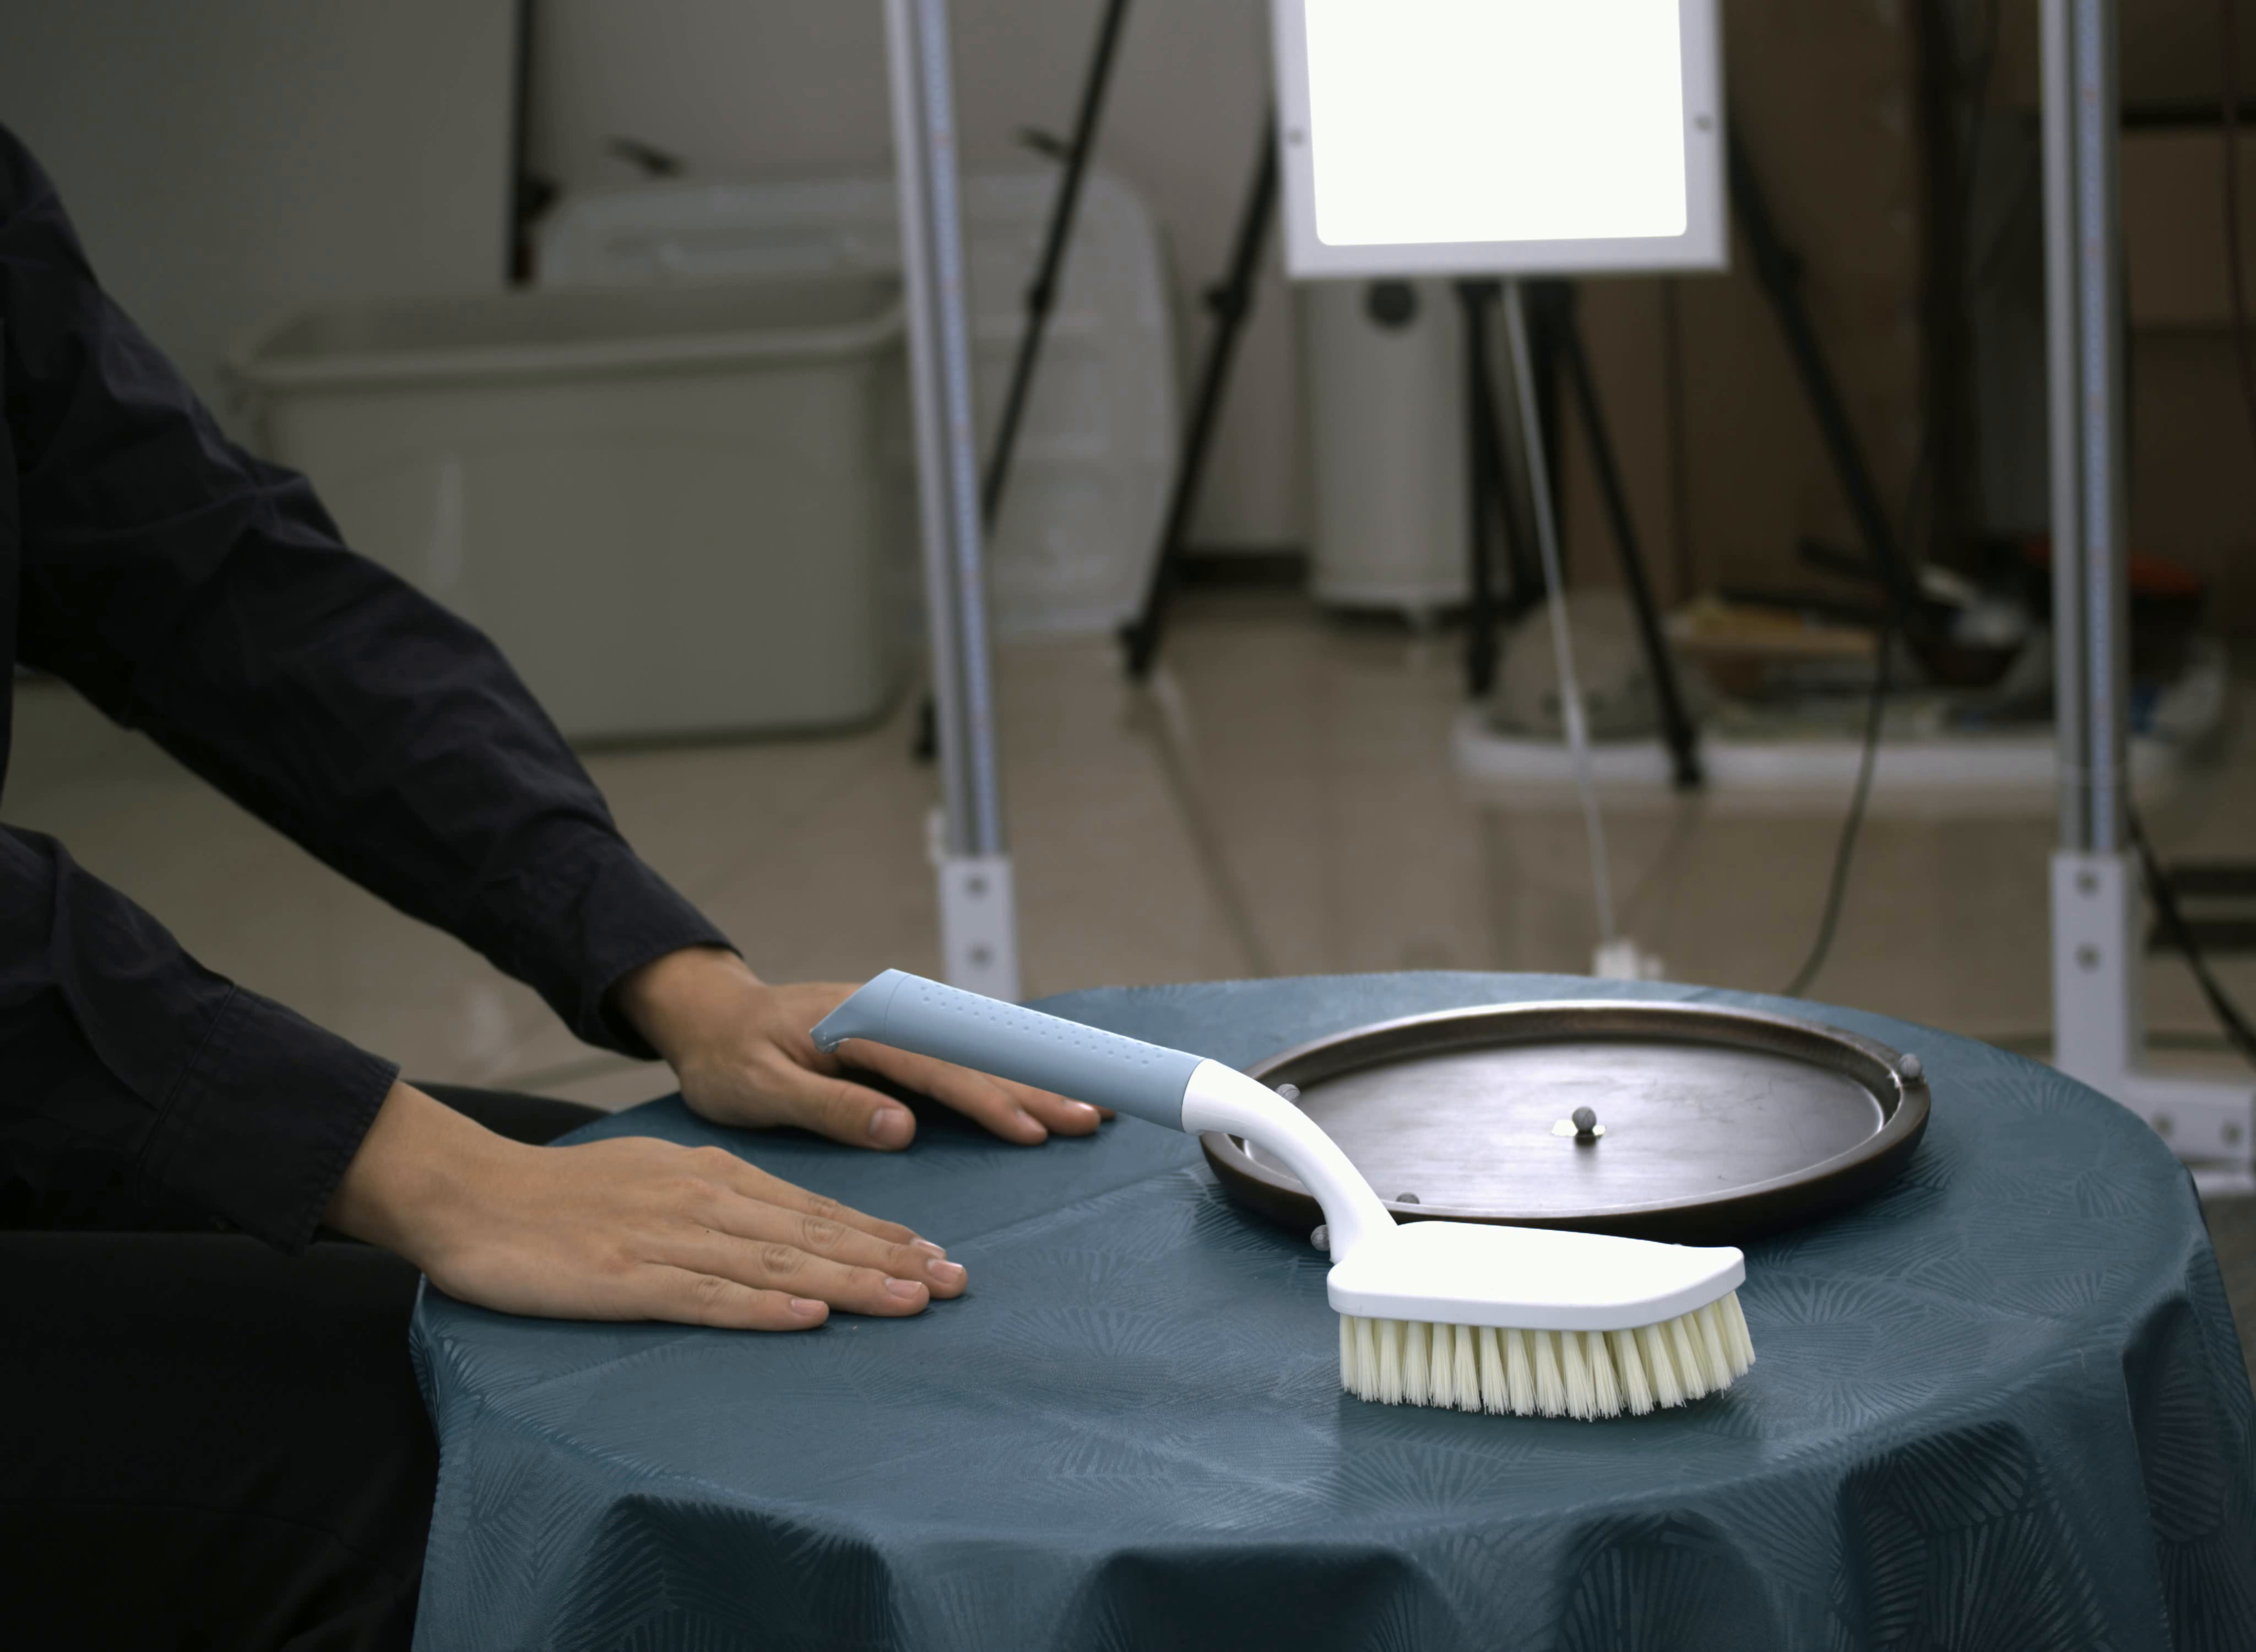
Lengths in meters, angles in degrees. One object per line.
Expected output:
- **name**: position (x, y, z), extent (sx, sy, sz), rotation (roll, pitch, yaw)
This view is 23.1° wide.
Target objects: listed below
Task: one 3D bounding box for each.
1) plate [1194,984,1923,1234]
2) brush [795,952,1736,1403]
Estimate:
- **plate**: position (0.149, 0.098, 1.902), extent (0.254, 0.029, 0.254), rotation (-5, 16, 0)
- **brush**: position (0.037, 0.123, 1.721), extent (0.330, 0.084, 0.082), rotation (15, -16, 25)
